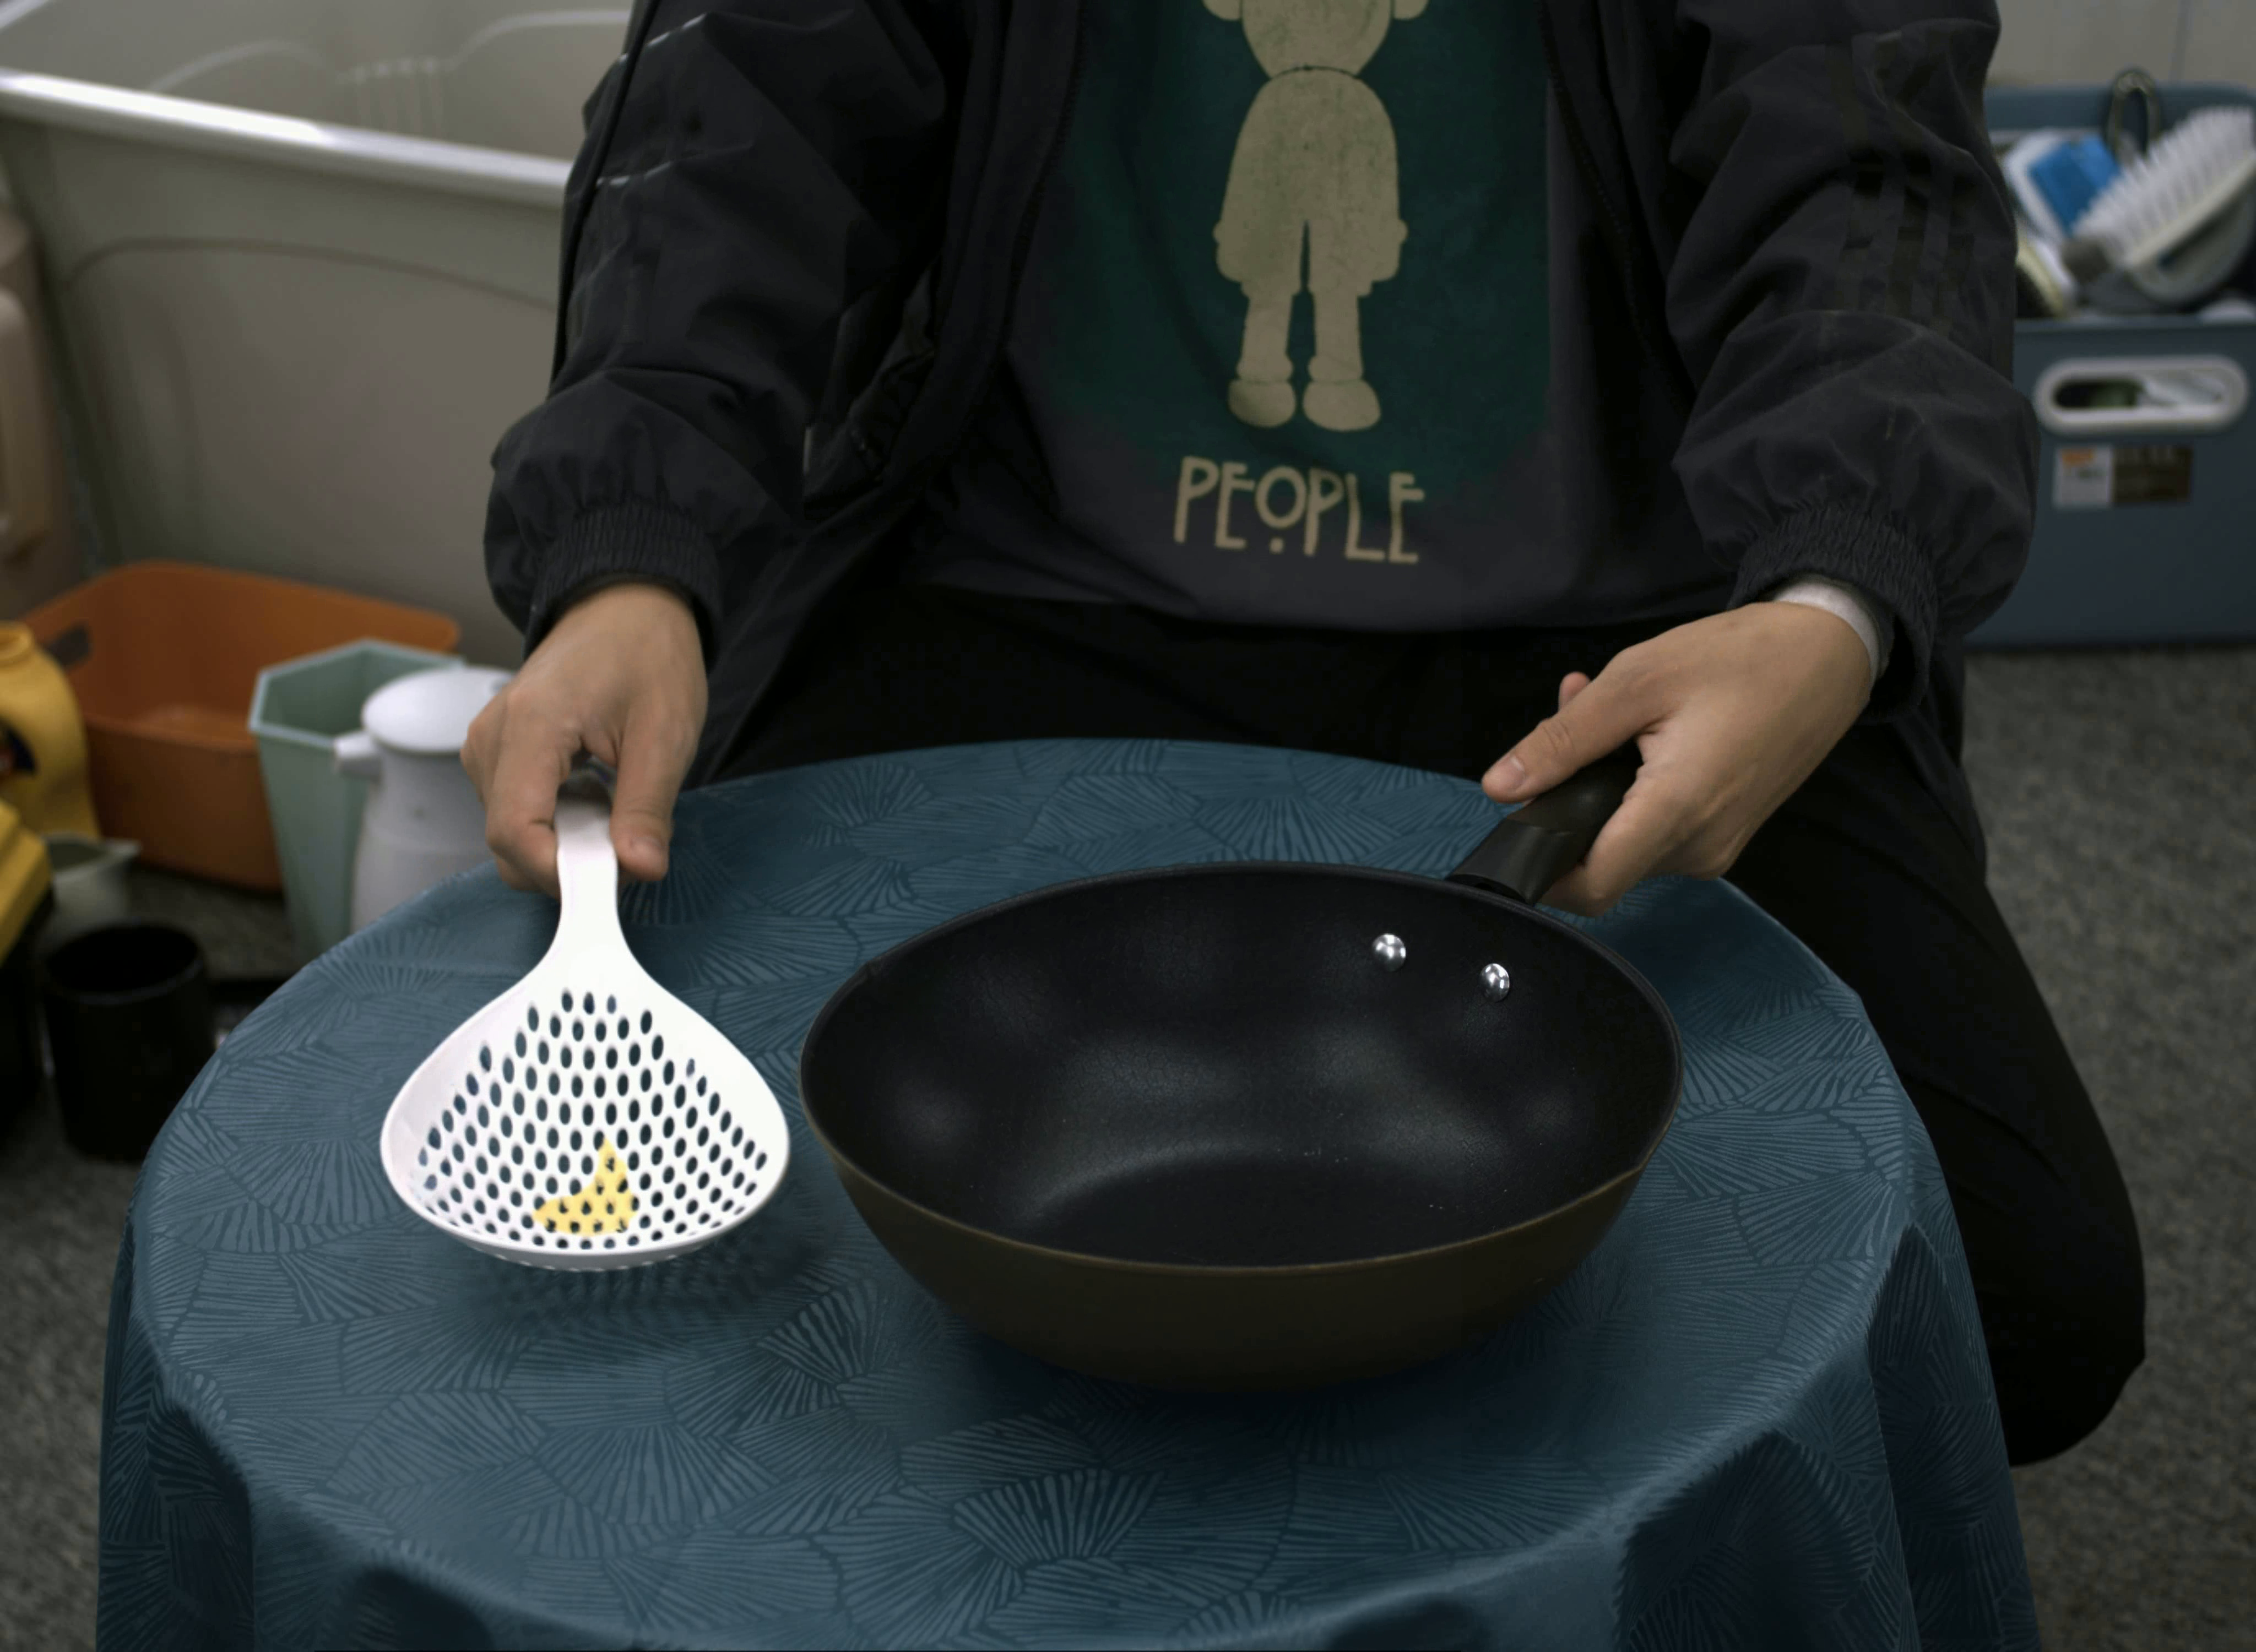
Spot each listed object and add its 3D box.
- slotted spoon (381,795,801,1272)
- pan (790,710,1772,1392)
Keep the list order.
[{"bbox_3d":[-0.186,0.060,1.933,0.136,0.049,0.353,-1,31,-6],"label":"slotted spoon"},{"bbox_3d":[0.085,0.072,1.860,0.286,0.086,0.470,14,28,30],"label":"pan"}]
